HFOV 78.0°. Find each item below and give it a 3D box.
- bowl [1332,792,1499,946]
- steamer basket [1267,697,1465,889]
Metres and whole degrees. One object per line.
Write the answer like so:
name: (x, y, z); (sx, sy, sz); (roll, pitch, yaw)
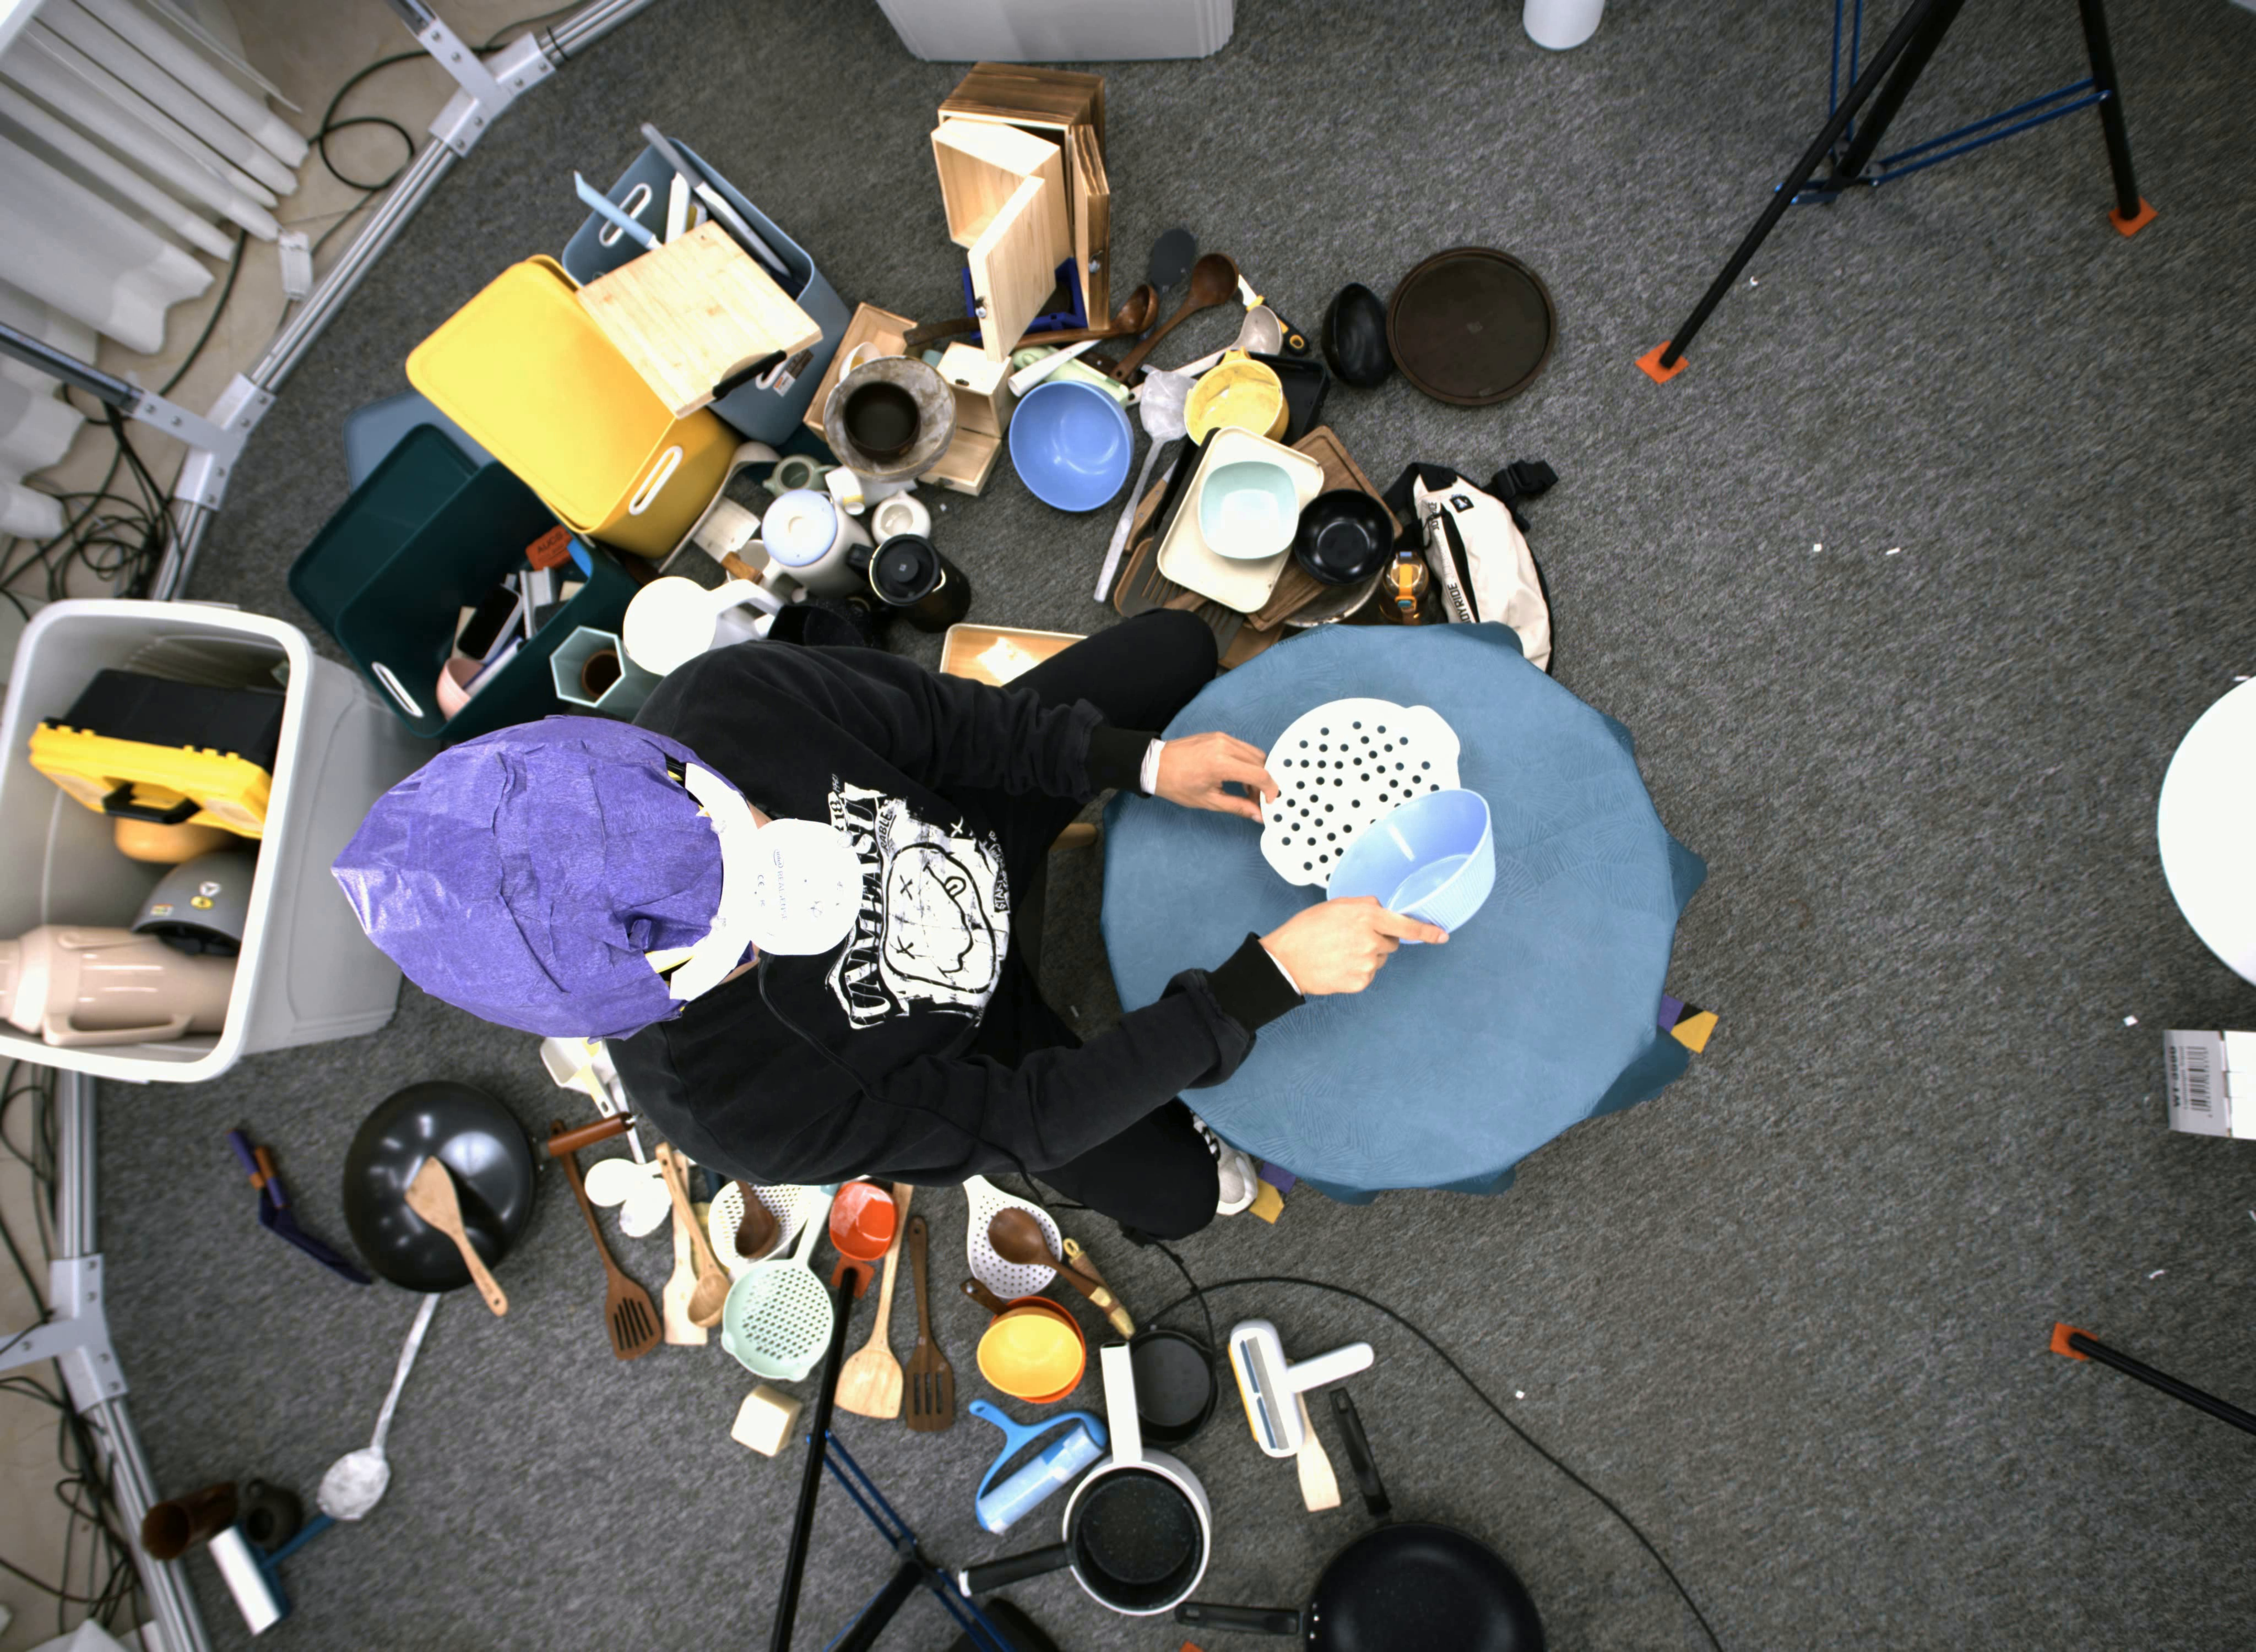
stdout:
bowl: (0.284, 0.049, 1.309); (0.177, 0.173, 0.071); (-39, 112, 4)
steamer basket: (0.243, -0.030, 1.427); (0.230, 0.069, 0.201); (-41, 82, -2)
